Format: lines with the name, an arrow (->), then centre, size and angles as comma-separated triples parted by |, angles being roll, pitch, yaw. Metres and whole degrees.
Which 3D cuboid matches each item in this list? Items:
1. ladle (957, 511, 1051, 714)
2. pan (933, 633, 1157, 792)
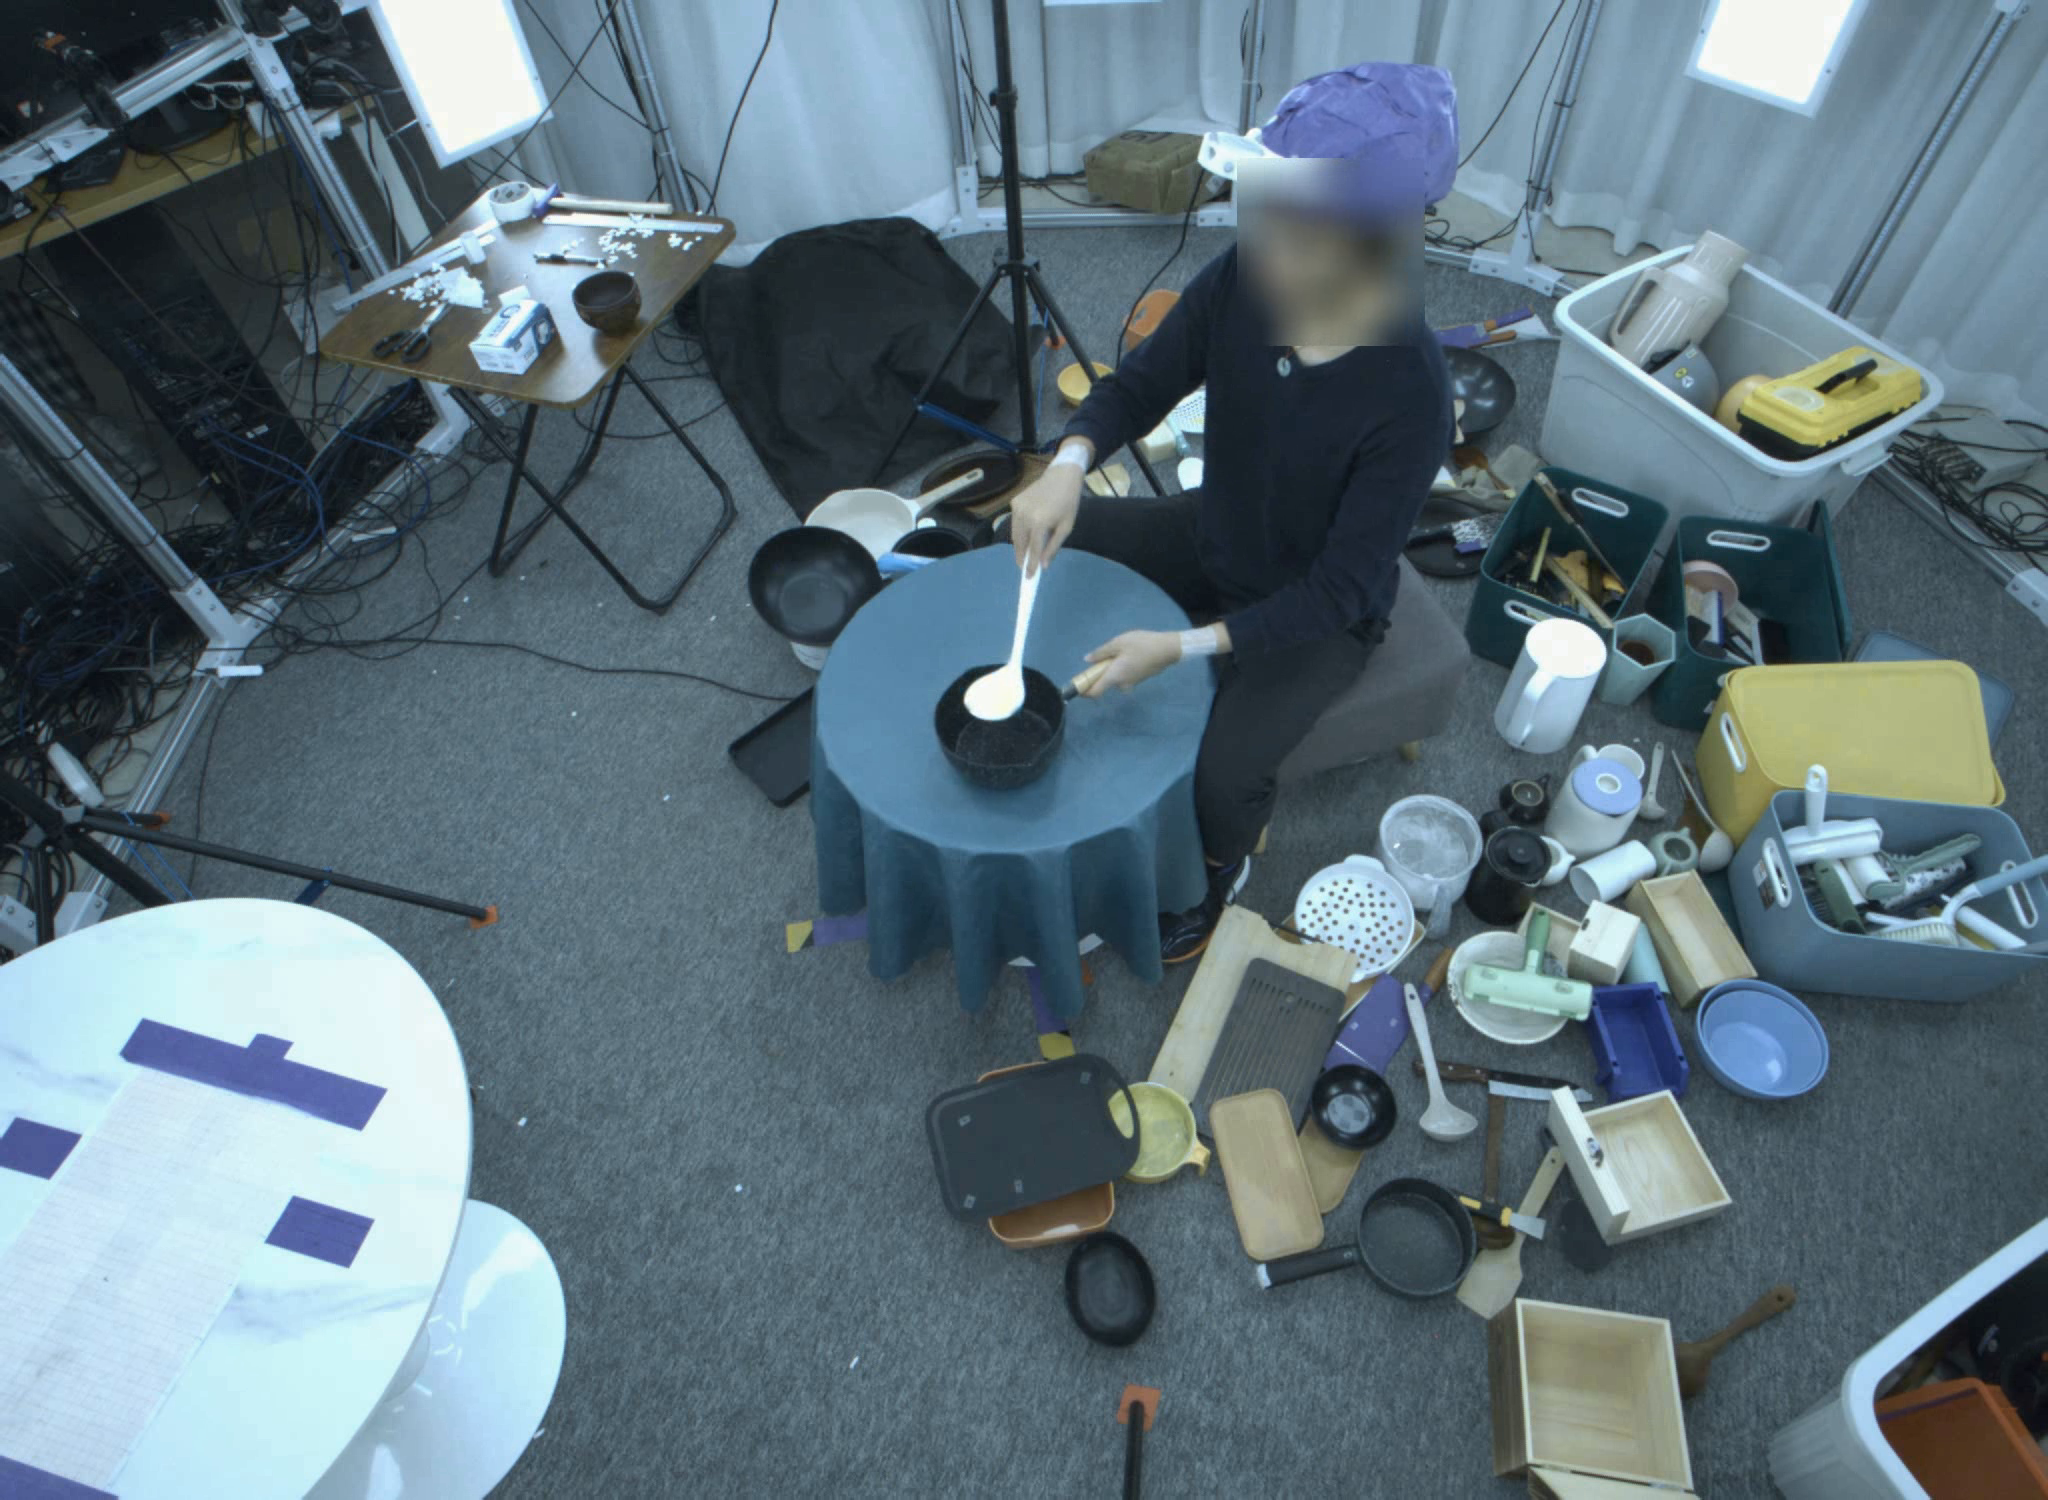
ladle -> -0.023, -0.190, 1.705 | 0.088, 0.071, 0.293 | 19, 99, 39
pan -> 0.038, -0.066, 1.761 | 0.345, 0.109, 0.203 | -26, 56, -11
